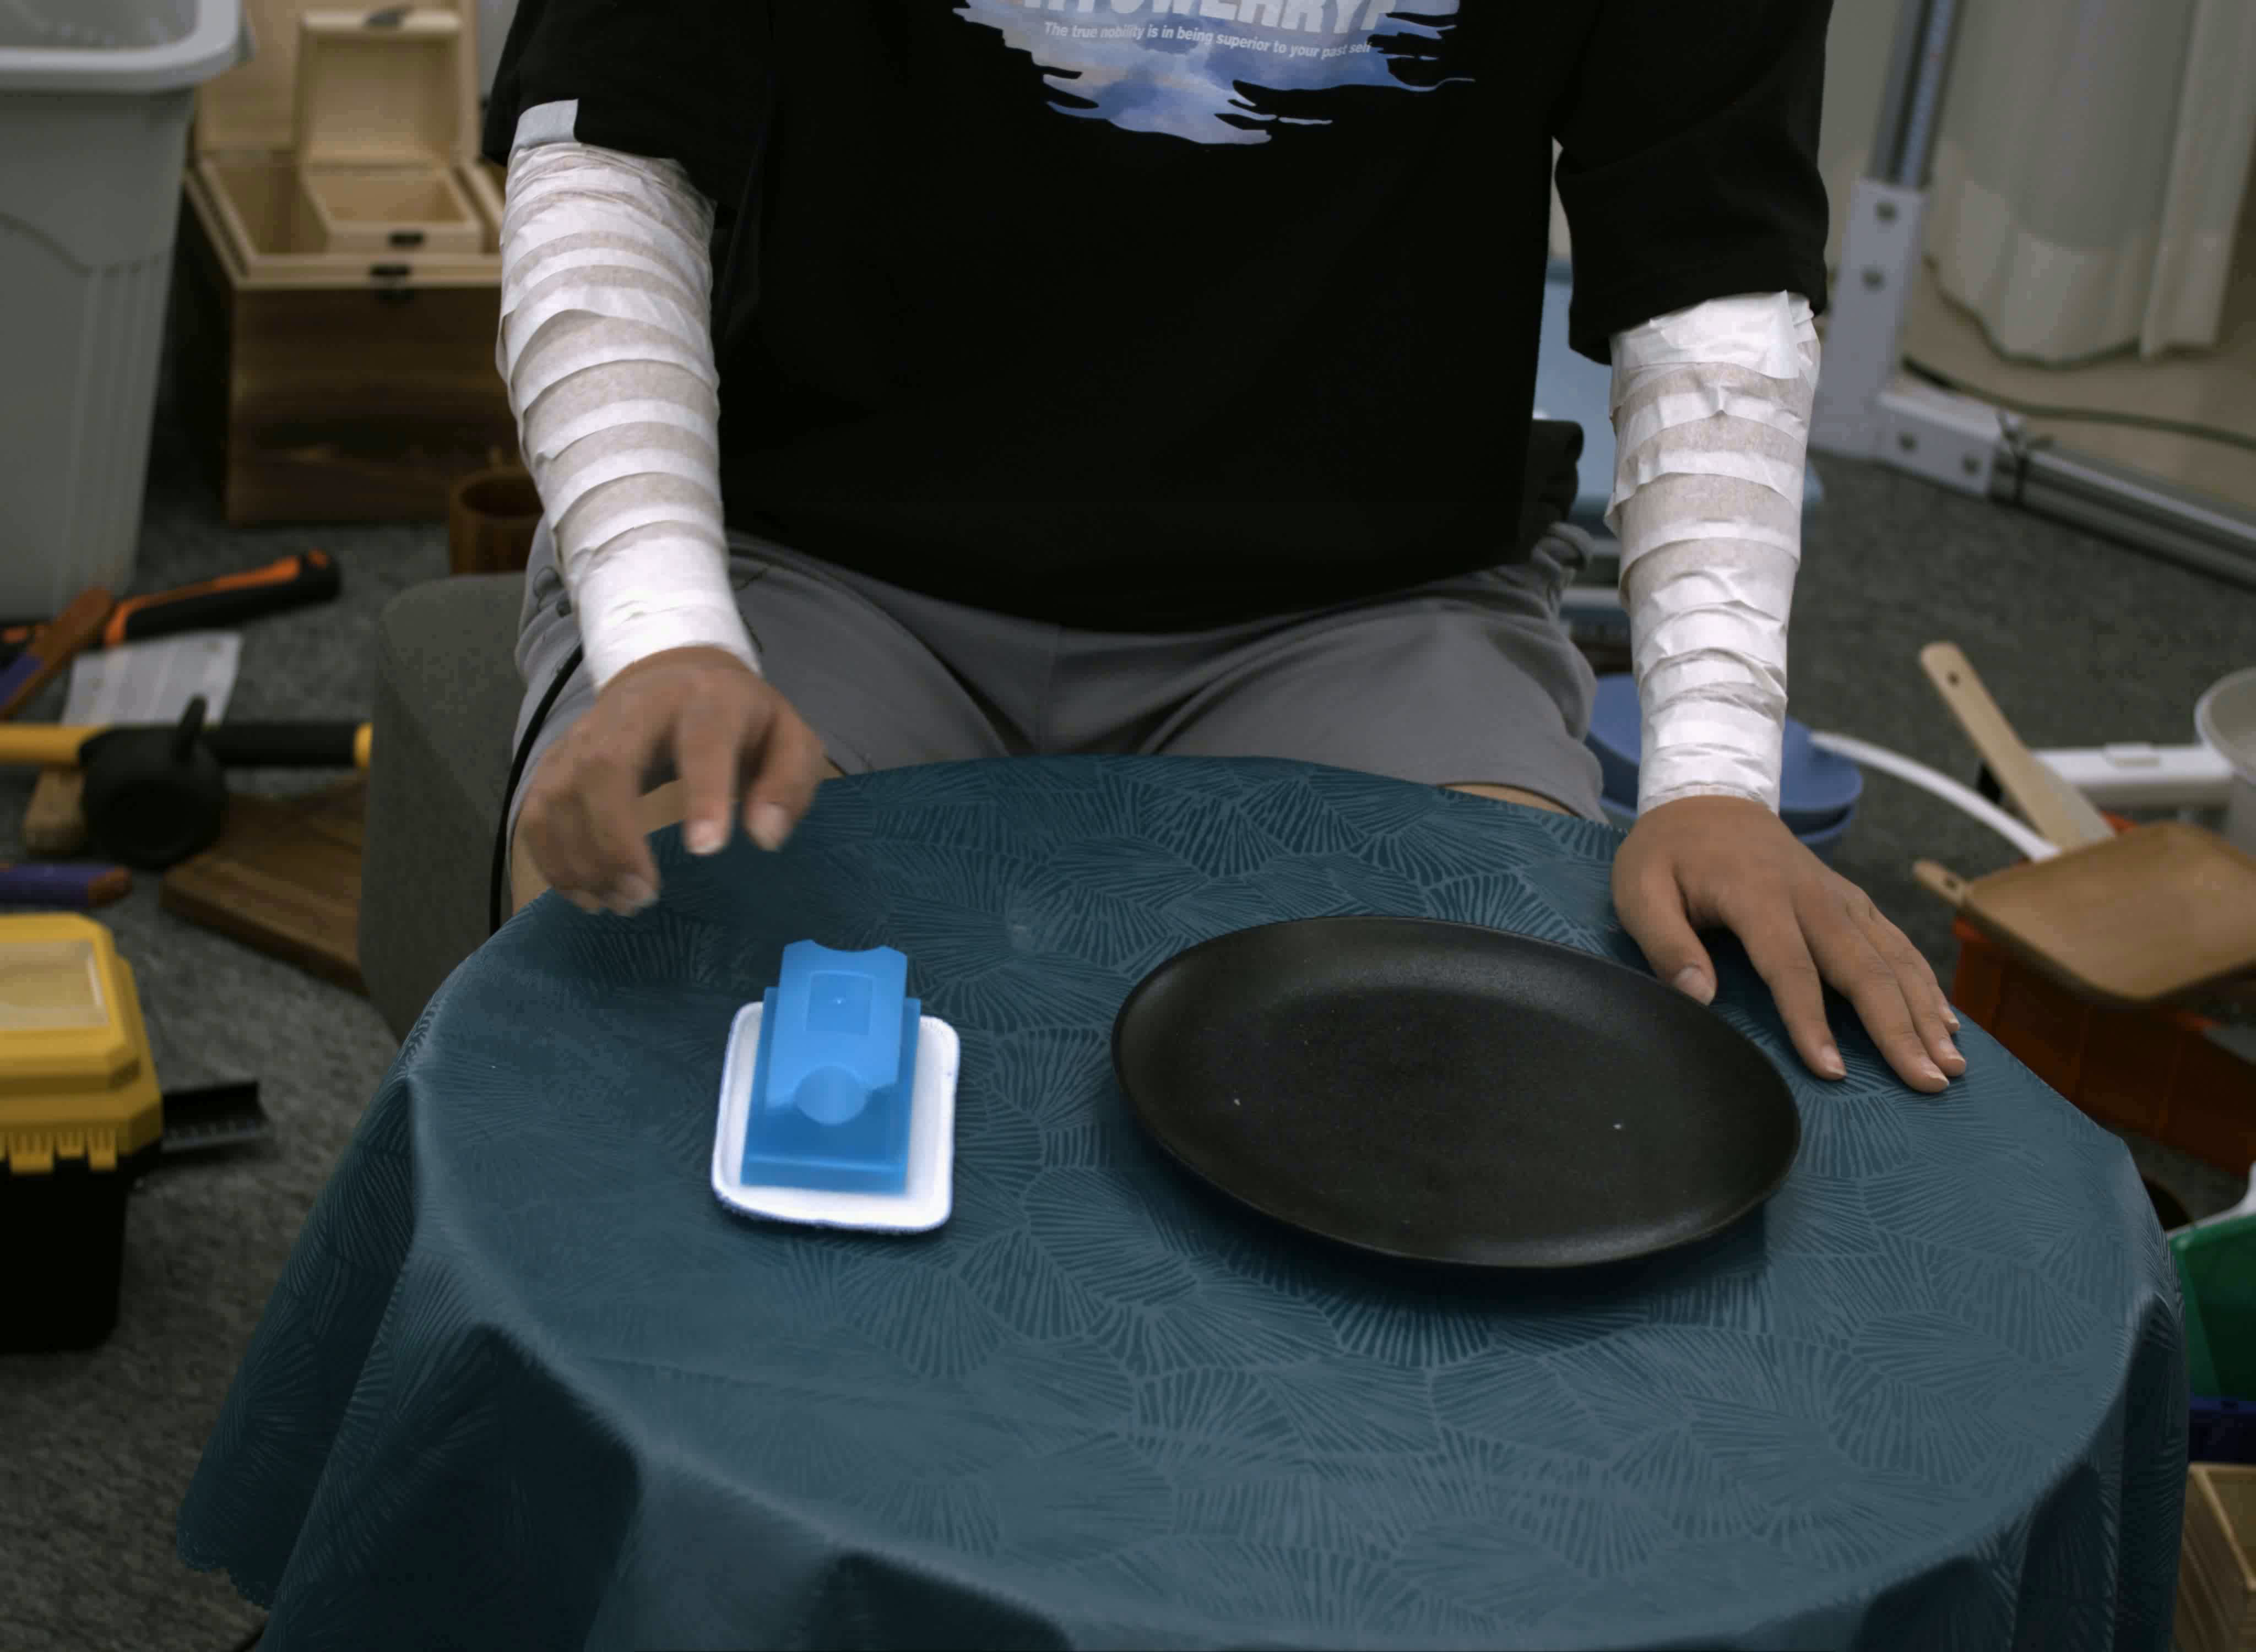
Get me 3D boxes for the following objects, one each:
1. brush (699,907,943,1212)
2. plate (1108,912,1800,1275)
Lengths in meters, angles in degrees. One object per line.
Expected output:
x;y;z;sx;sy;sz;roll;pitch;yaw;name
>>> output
-0.102;0.074;1.809;0.083;0.056;0.145;9;29;-6;brush
0.112;0.097;1.856;0.243;0.023;0.246;5;27;-3;plate
